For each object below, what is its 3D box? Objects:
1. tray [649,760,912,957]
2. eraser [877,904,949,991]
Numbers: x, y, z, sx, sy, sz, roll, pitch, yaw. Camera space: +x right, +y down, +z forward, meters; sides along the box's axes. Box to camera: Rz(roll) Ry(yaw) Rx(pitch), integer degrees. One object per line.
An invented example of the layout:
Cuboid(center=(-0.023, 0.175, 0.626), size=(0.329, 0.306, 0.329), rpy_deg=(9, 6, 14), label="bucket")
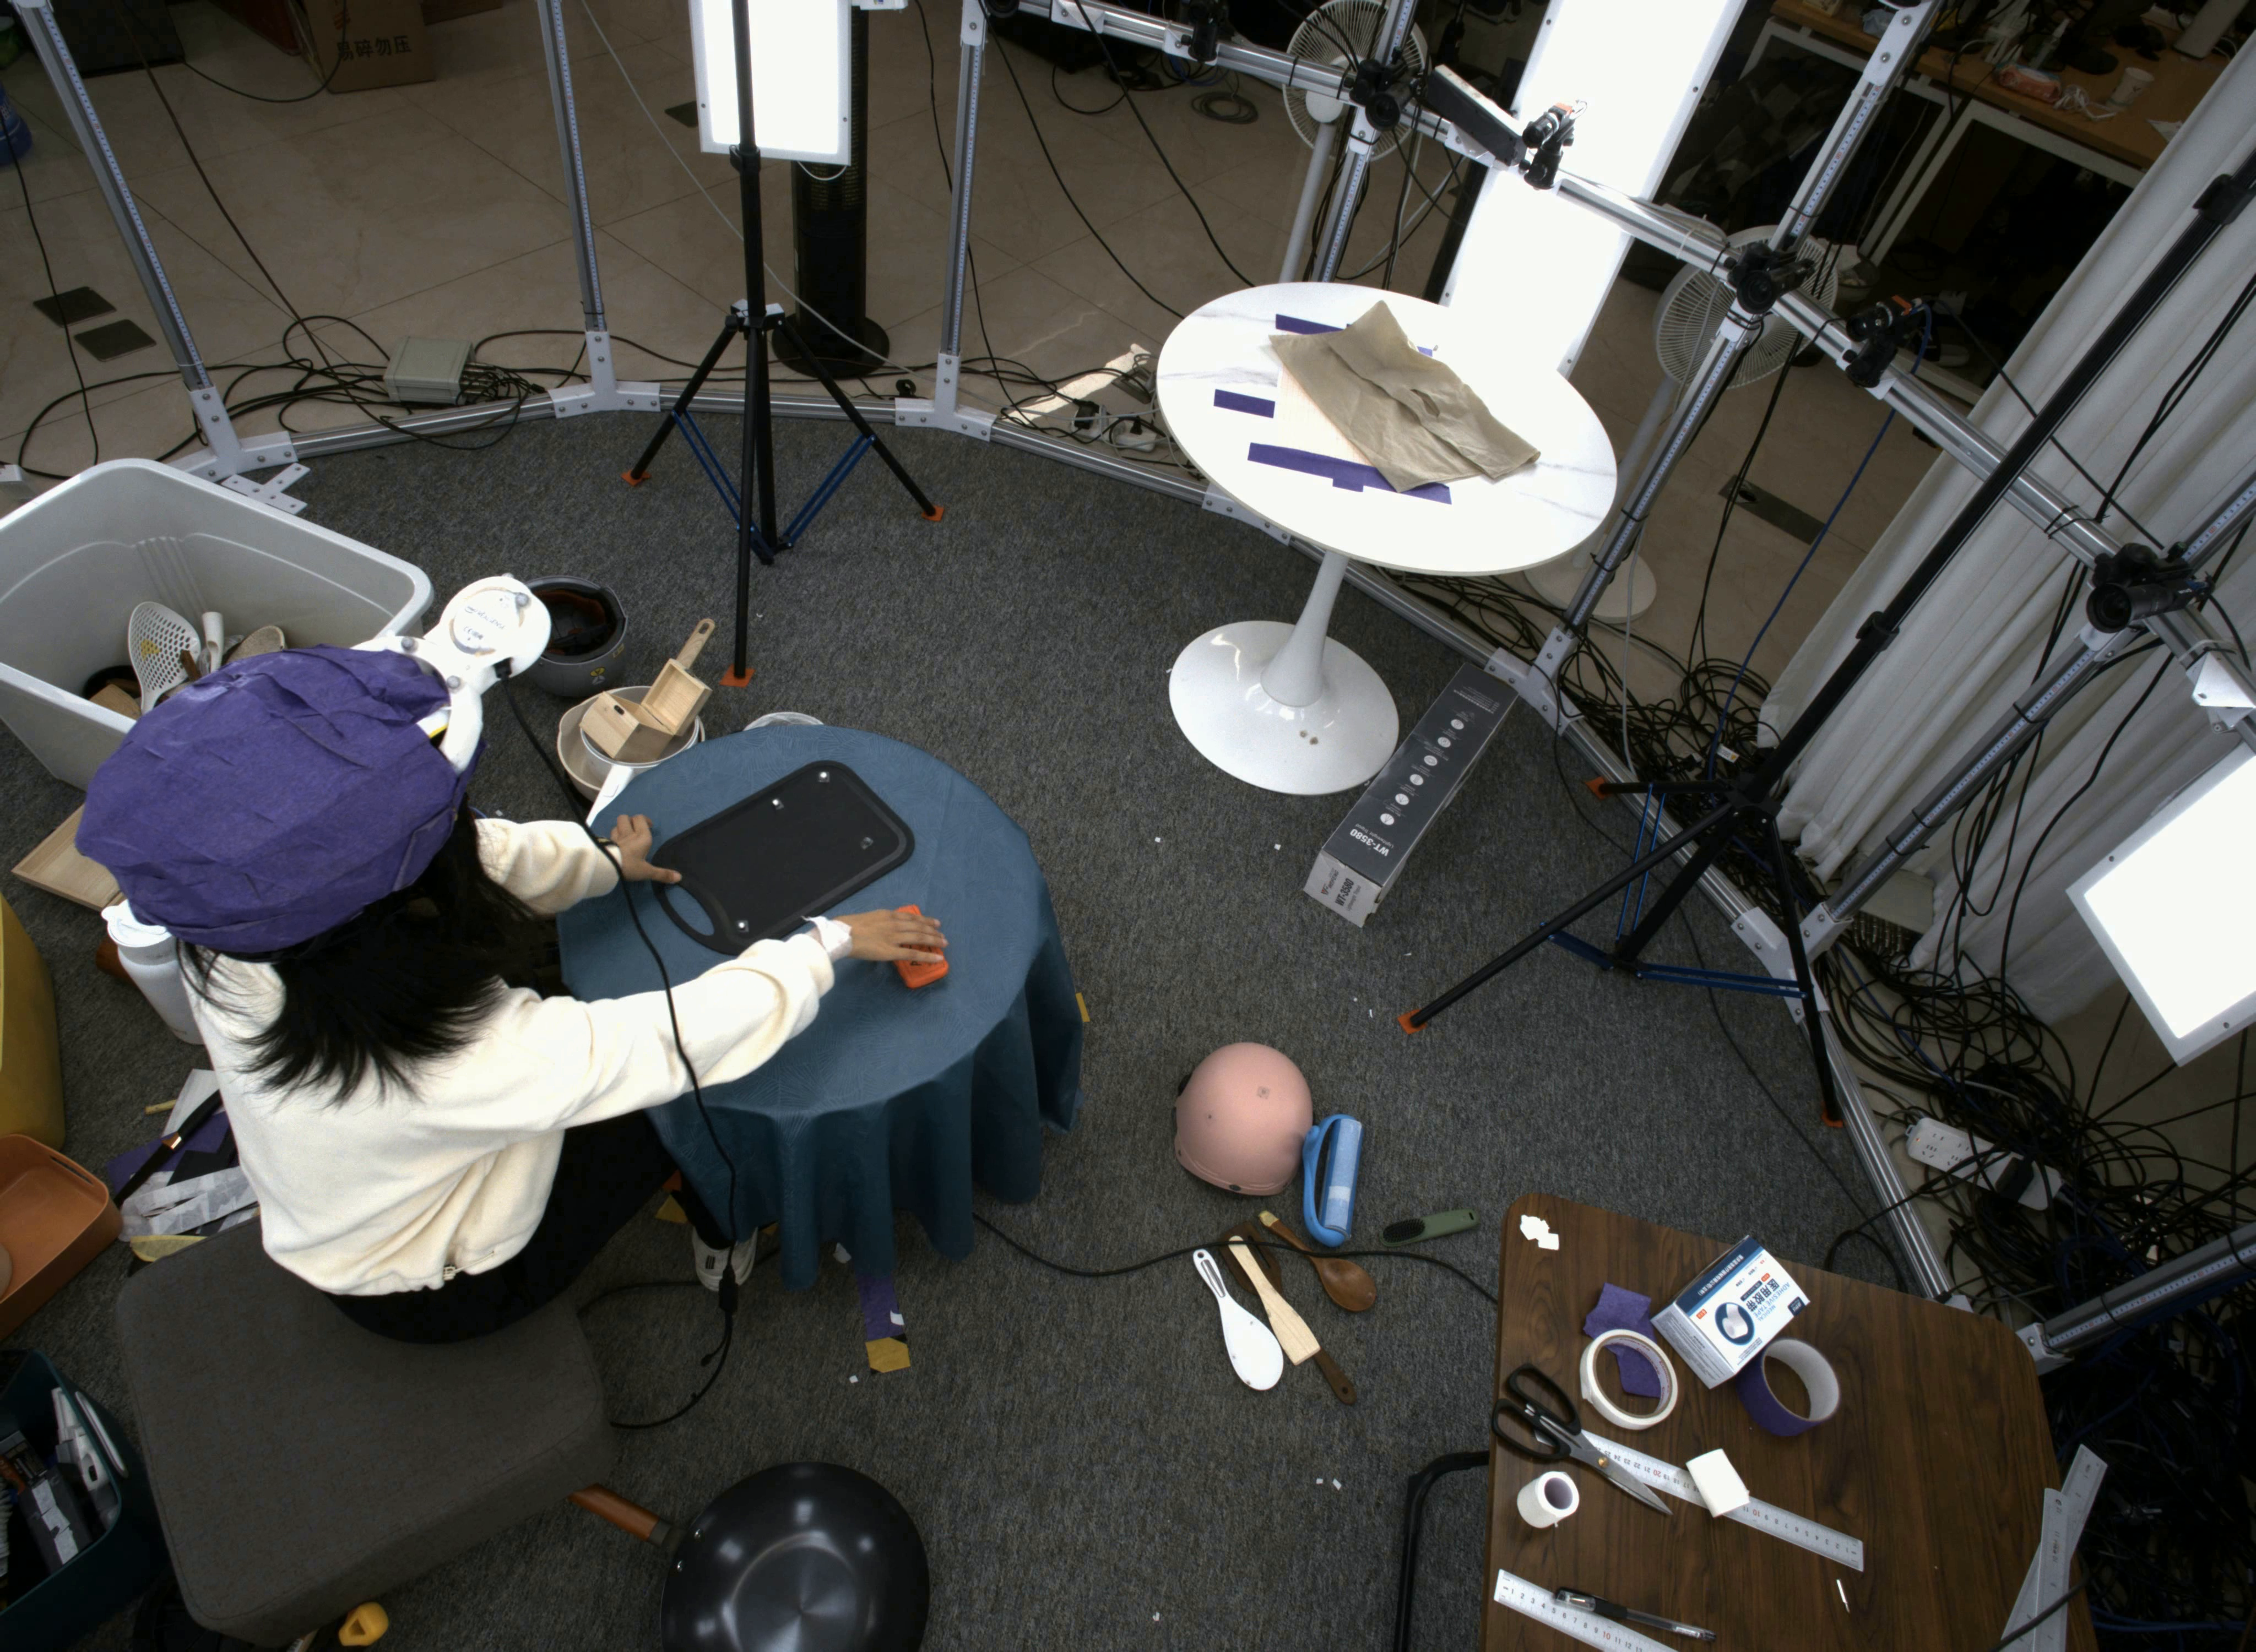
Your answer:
Cuboid(center=(-0.453, 0.037, 1.679), size=(0.326, 0.010, 0.206), rpy_deg=(-35, 68, -33), label="tray")
Cuboid(center=(-0.270, 0.149, 1.632), size=(0.059, 0.023, 0.105), rpy_deg=(-19, 60, -27), label="eraser")
